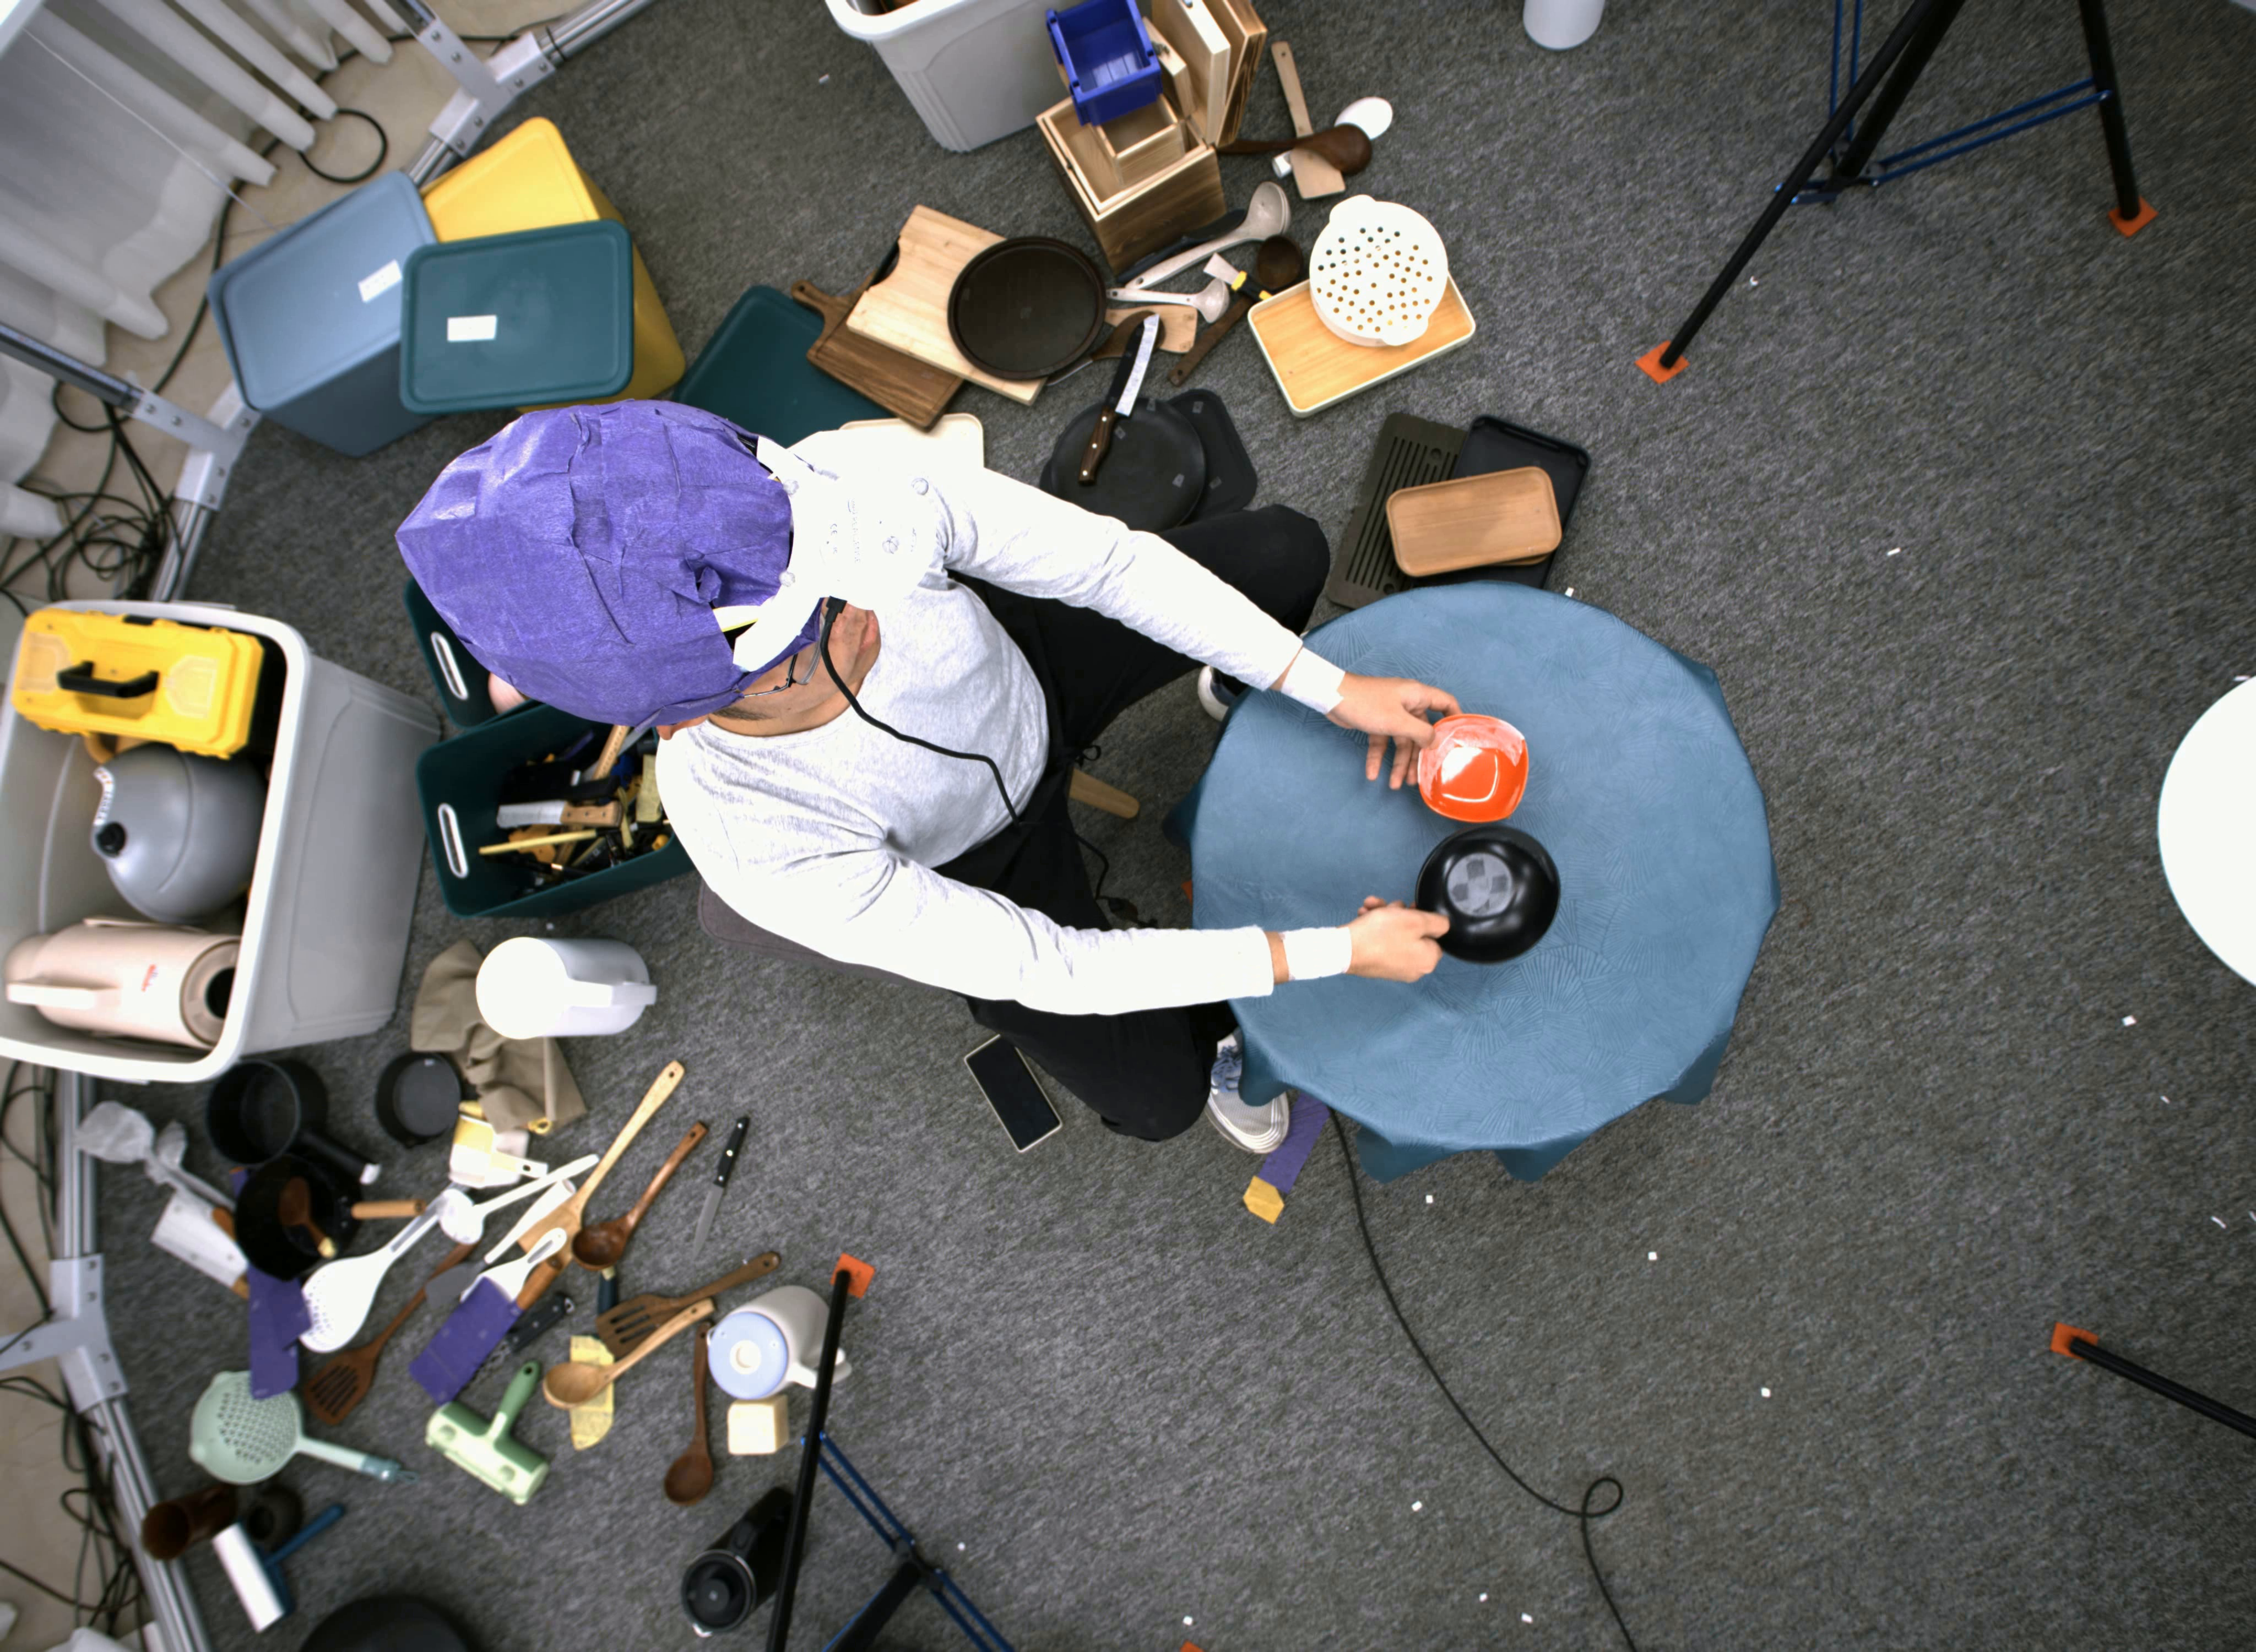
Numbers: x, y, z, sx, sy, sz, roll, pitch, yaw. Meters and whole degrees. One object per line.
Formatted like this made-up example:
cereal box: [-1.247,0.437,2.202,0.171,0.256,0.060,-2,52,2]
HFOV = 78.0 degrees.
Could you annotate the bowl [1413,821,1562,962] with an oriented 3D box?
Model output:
bowl: [0.345,0.056,1.333,0.140,0.049,0.142,2,105,8]

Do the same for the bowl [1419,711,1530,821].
bowl: [0.354,-0.062,1.411,0.119,0.051,0.119,0,89,10]
